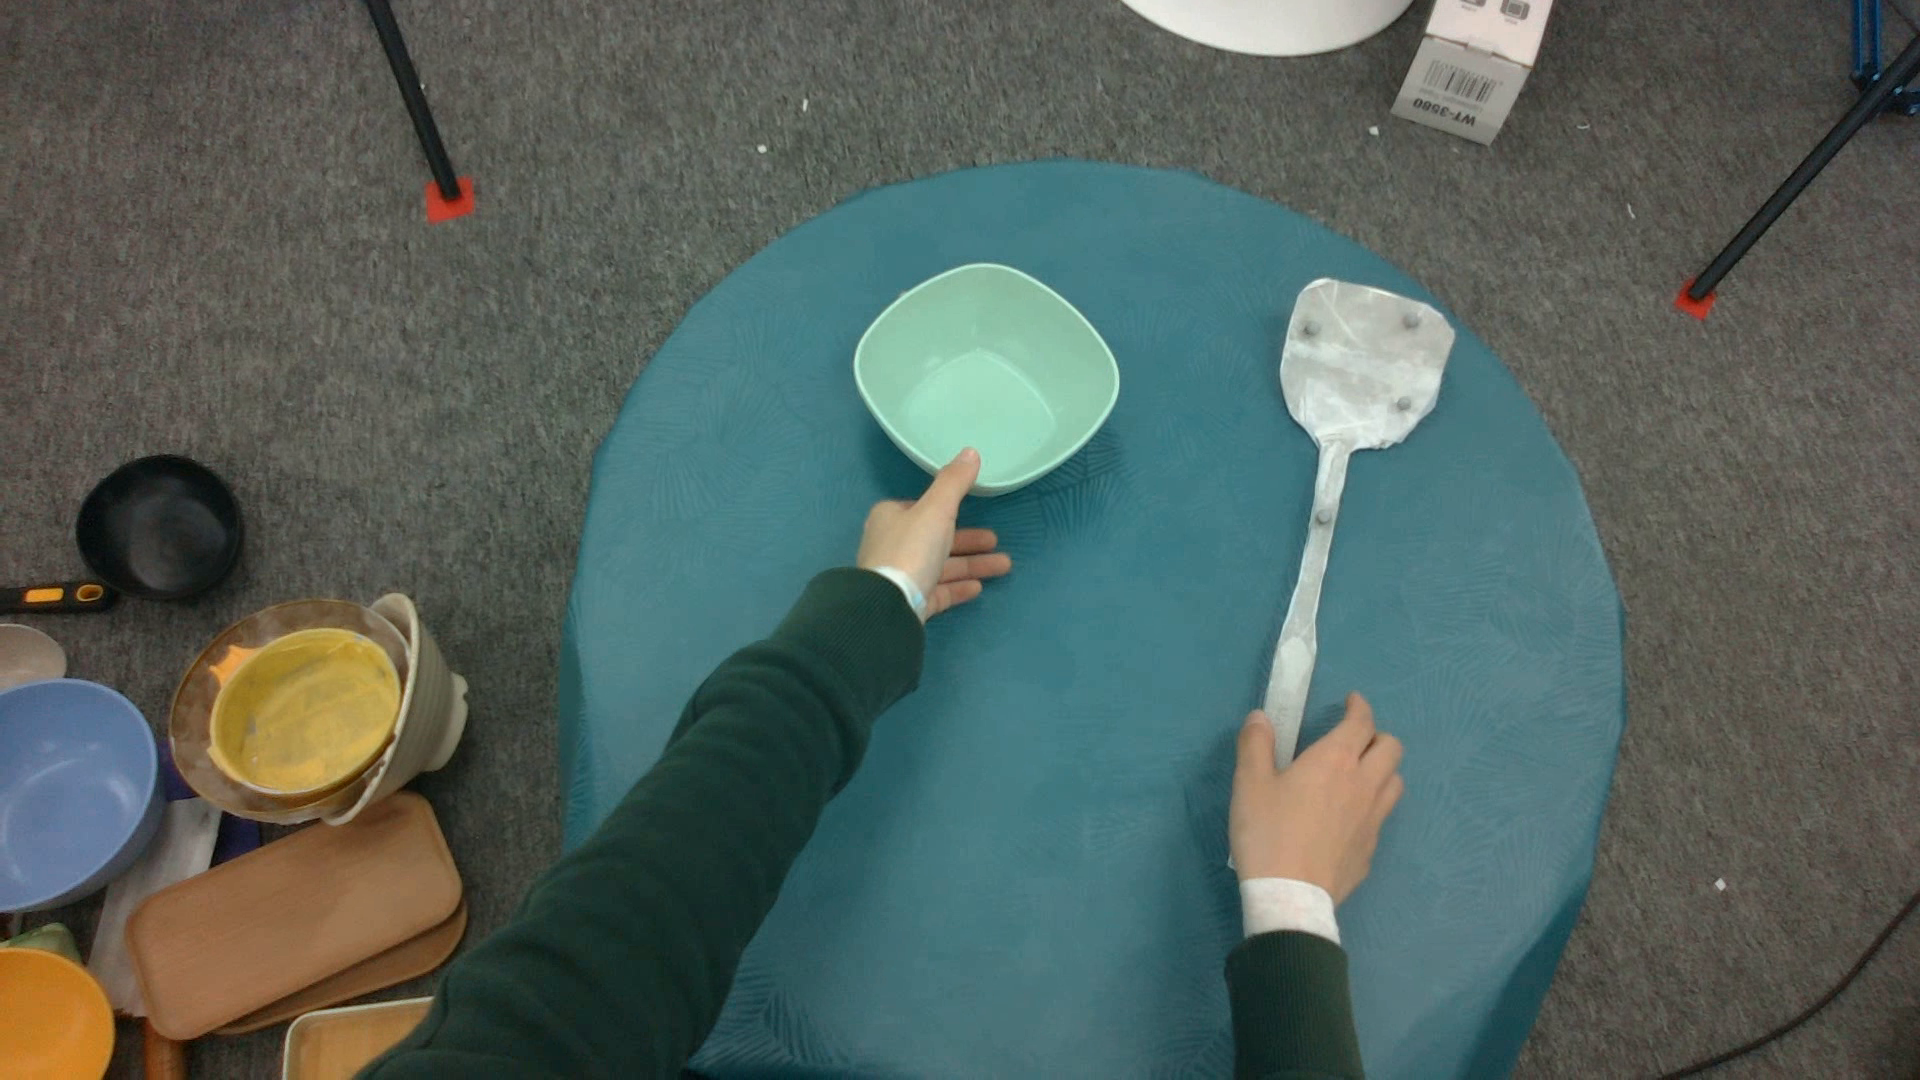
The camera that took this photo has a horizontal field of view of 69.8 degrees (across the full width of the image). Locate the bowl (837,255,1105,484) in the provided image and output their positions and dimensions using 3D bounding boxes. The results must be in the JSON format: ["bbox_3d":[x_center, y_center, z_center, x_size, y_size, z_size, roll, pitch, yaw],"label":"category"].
[{"bbox_3d":[0.005,-0.089,0.798,0.151,0.058,0.152,2,60,-4],"label":"bowl"}]

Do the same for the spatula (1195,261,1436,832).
[{"bbox_3d":[0.193,-0.005,0.786,0.099,0.044,0.366,20,63,2],"label":"spatula"}]
